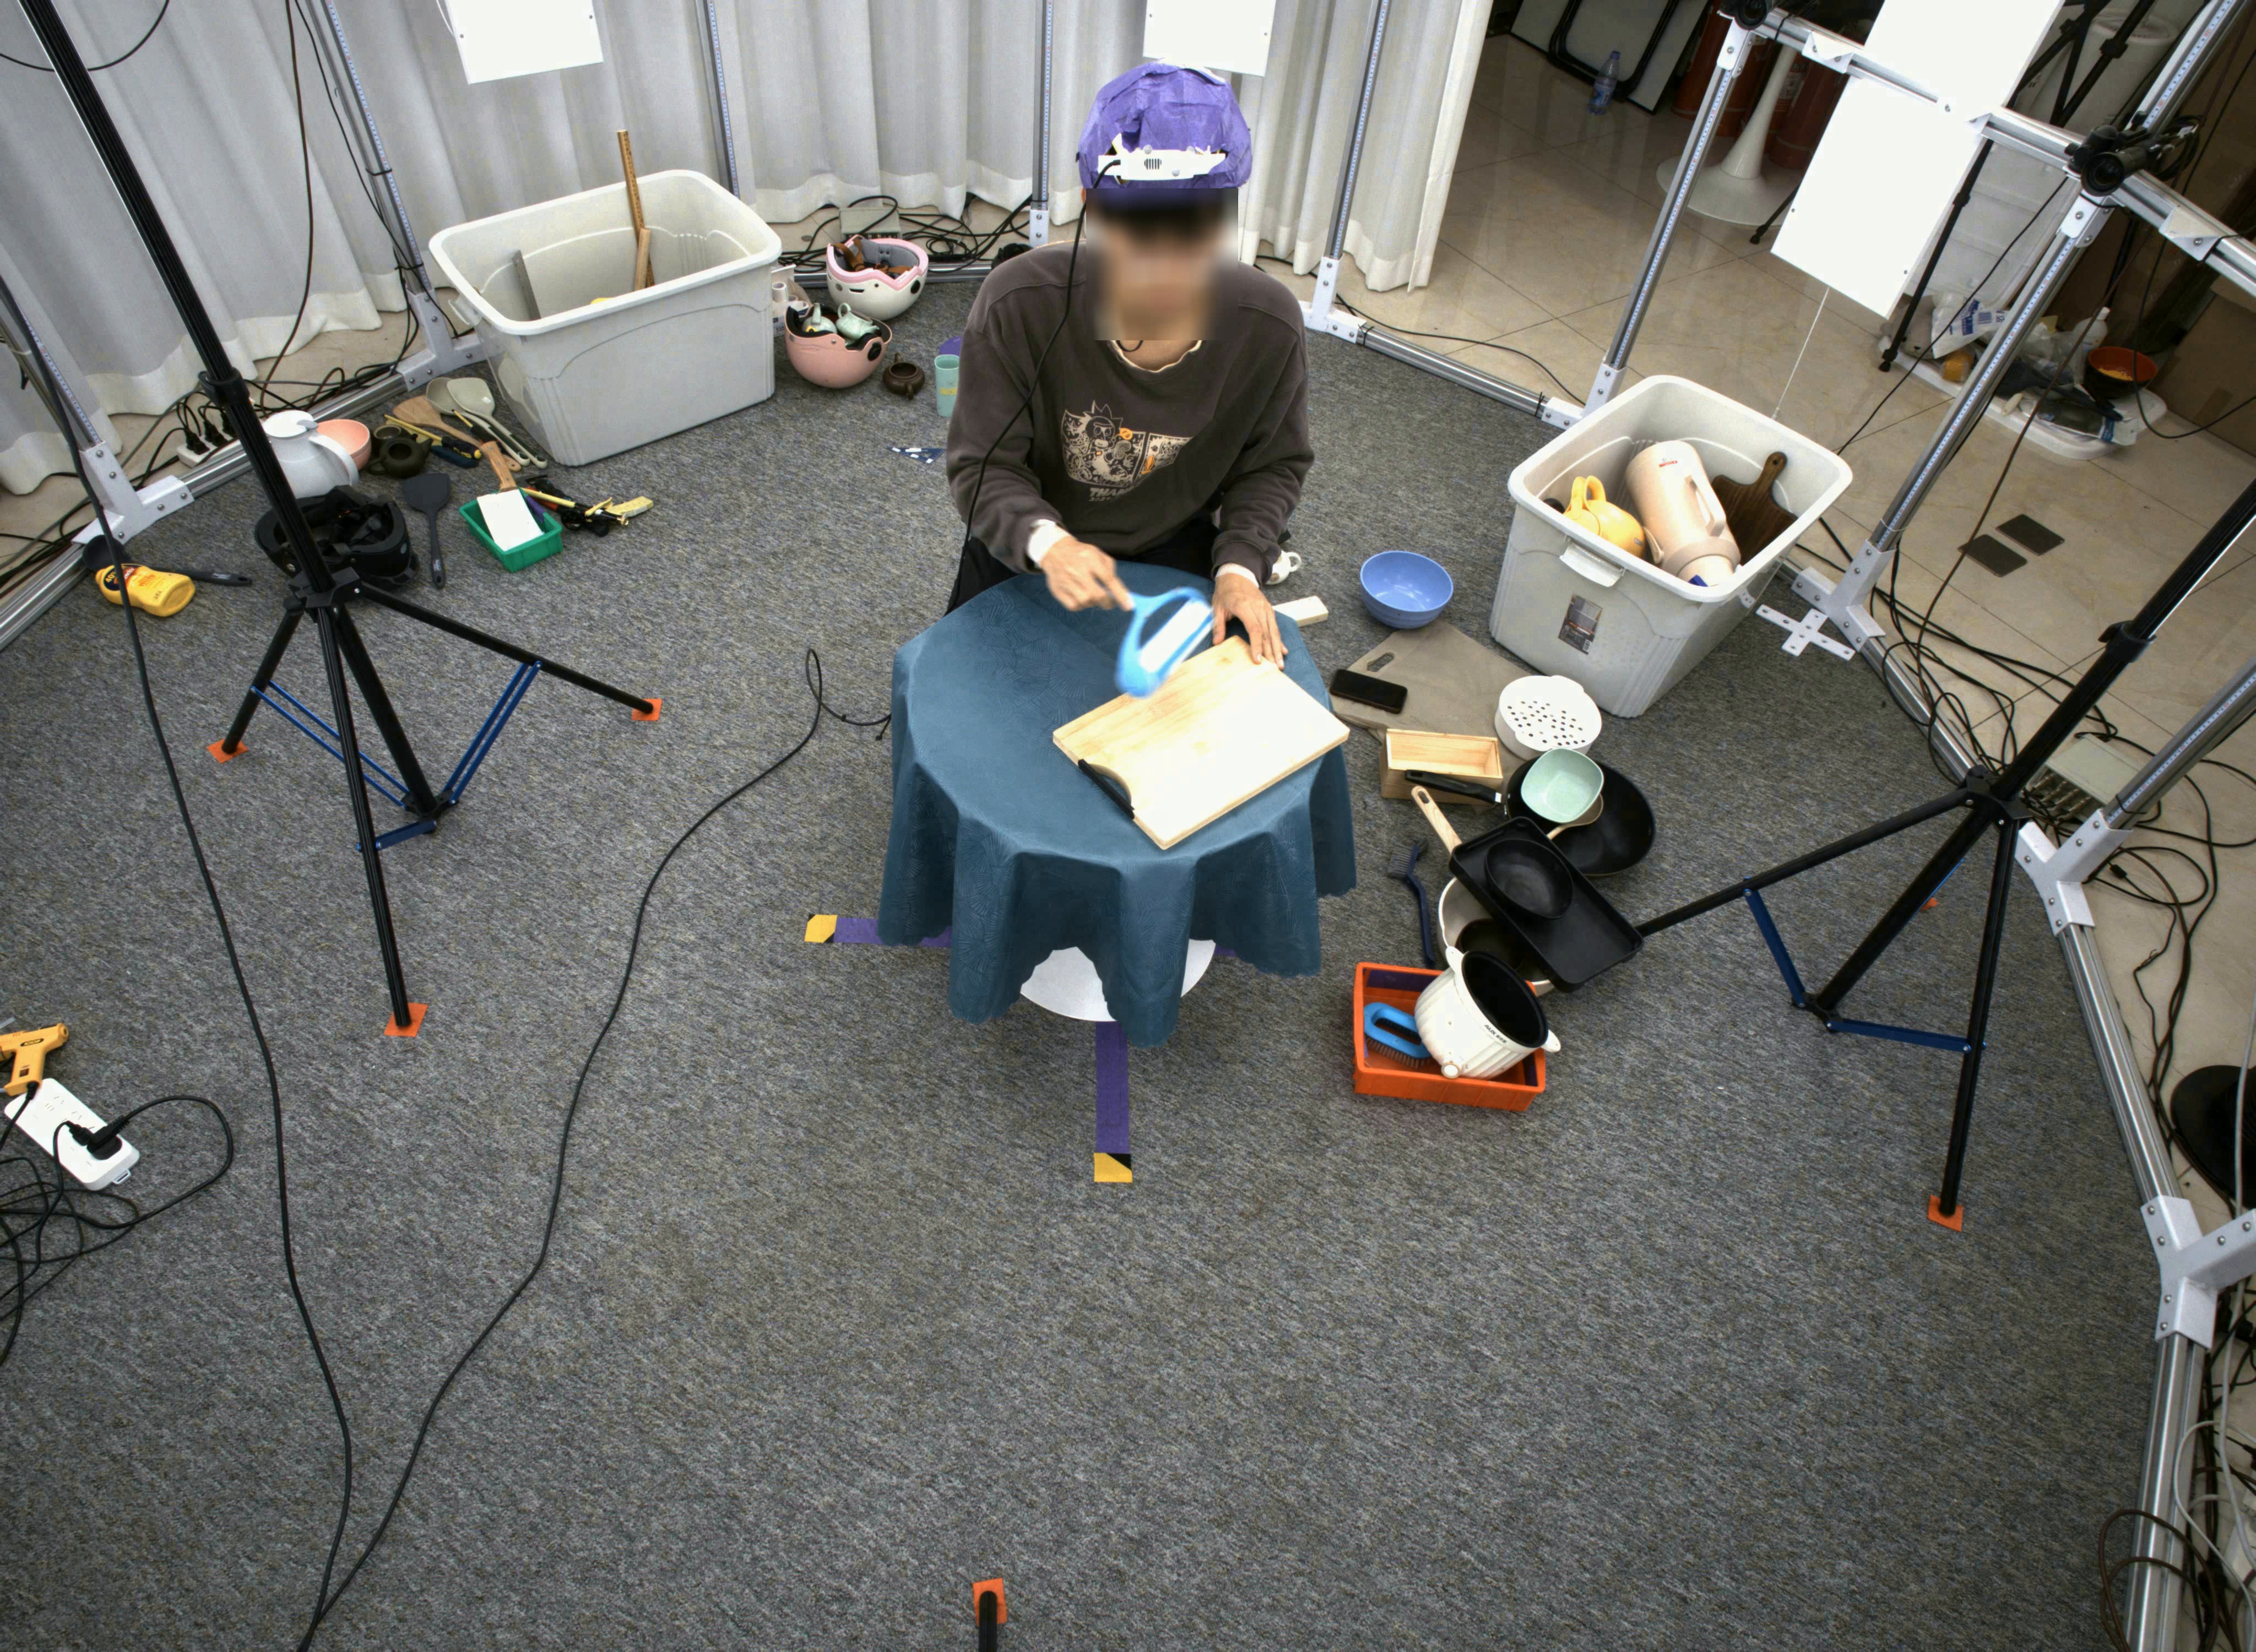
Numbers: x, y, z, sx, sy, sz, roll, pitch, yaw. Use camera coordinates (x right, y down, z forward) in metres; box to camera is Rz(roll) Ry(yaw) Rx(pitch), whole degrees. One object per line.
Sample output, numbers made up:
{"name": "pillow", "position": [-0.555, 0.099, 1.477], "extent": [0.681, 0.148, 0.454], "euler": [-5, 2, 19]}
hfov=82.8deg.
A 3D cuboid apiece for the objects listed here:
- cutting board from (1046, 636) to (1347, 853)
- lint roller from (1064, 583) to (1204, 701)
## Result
{"name": "cutting board", "position": [0.097, -0.122, 1.767], "extent": [0.351, 0.023, 0.255], "euler": [-31, 57, -26]}
{"name": "lint roller", "position": [-0.005, -0.271, 1.703], "extent": [0.180, 0.067, 0.232], "euler": [42, 42, -2]}
